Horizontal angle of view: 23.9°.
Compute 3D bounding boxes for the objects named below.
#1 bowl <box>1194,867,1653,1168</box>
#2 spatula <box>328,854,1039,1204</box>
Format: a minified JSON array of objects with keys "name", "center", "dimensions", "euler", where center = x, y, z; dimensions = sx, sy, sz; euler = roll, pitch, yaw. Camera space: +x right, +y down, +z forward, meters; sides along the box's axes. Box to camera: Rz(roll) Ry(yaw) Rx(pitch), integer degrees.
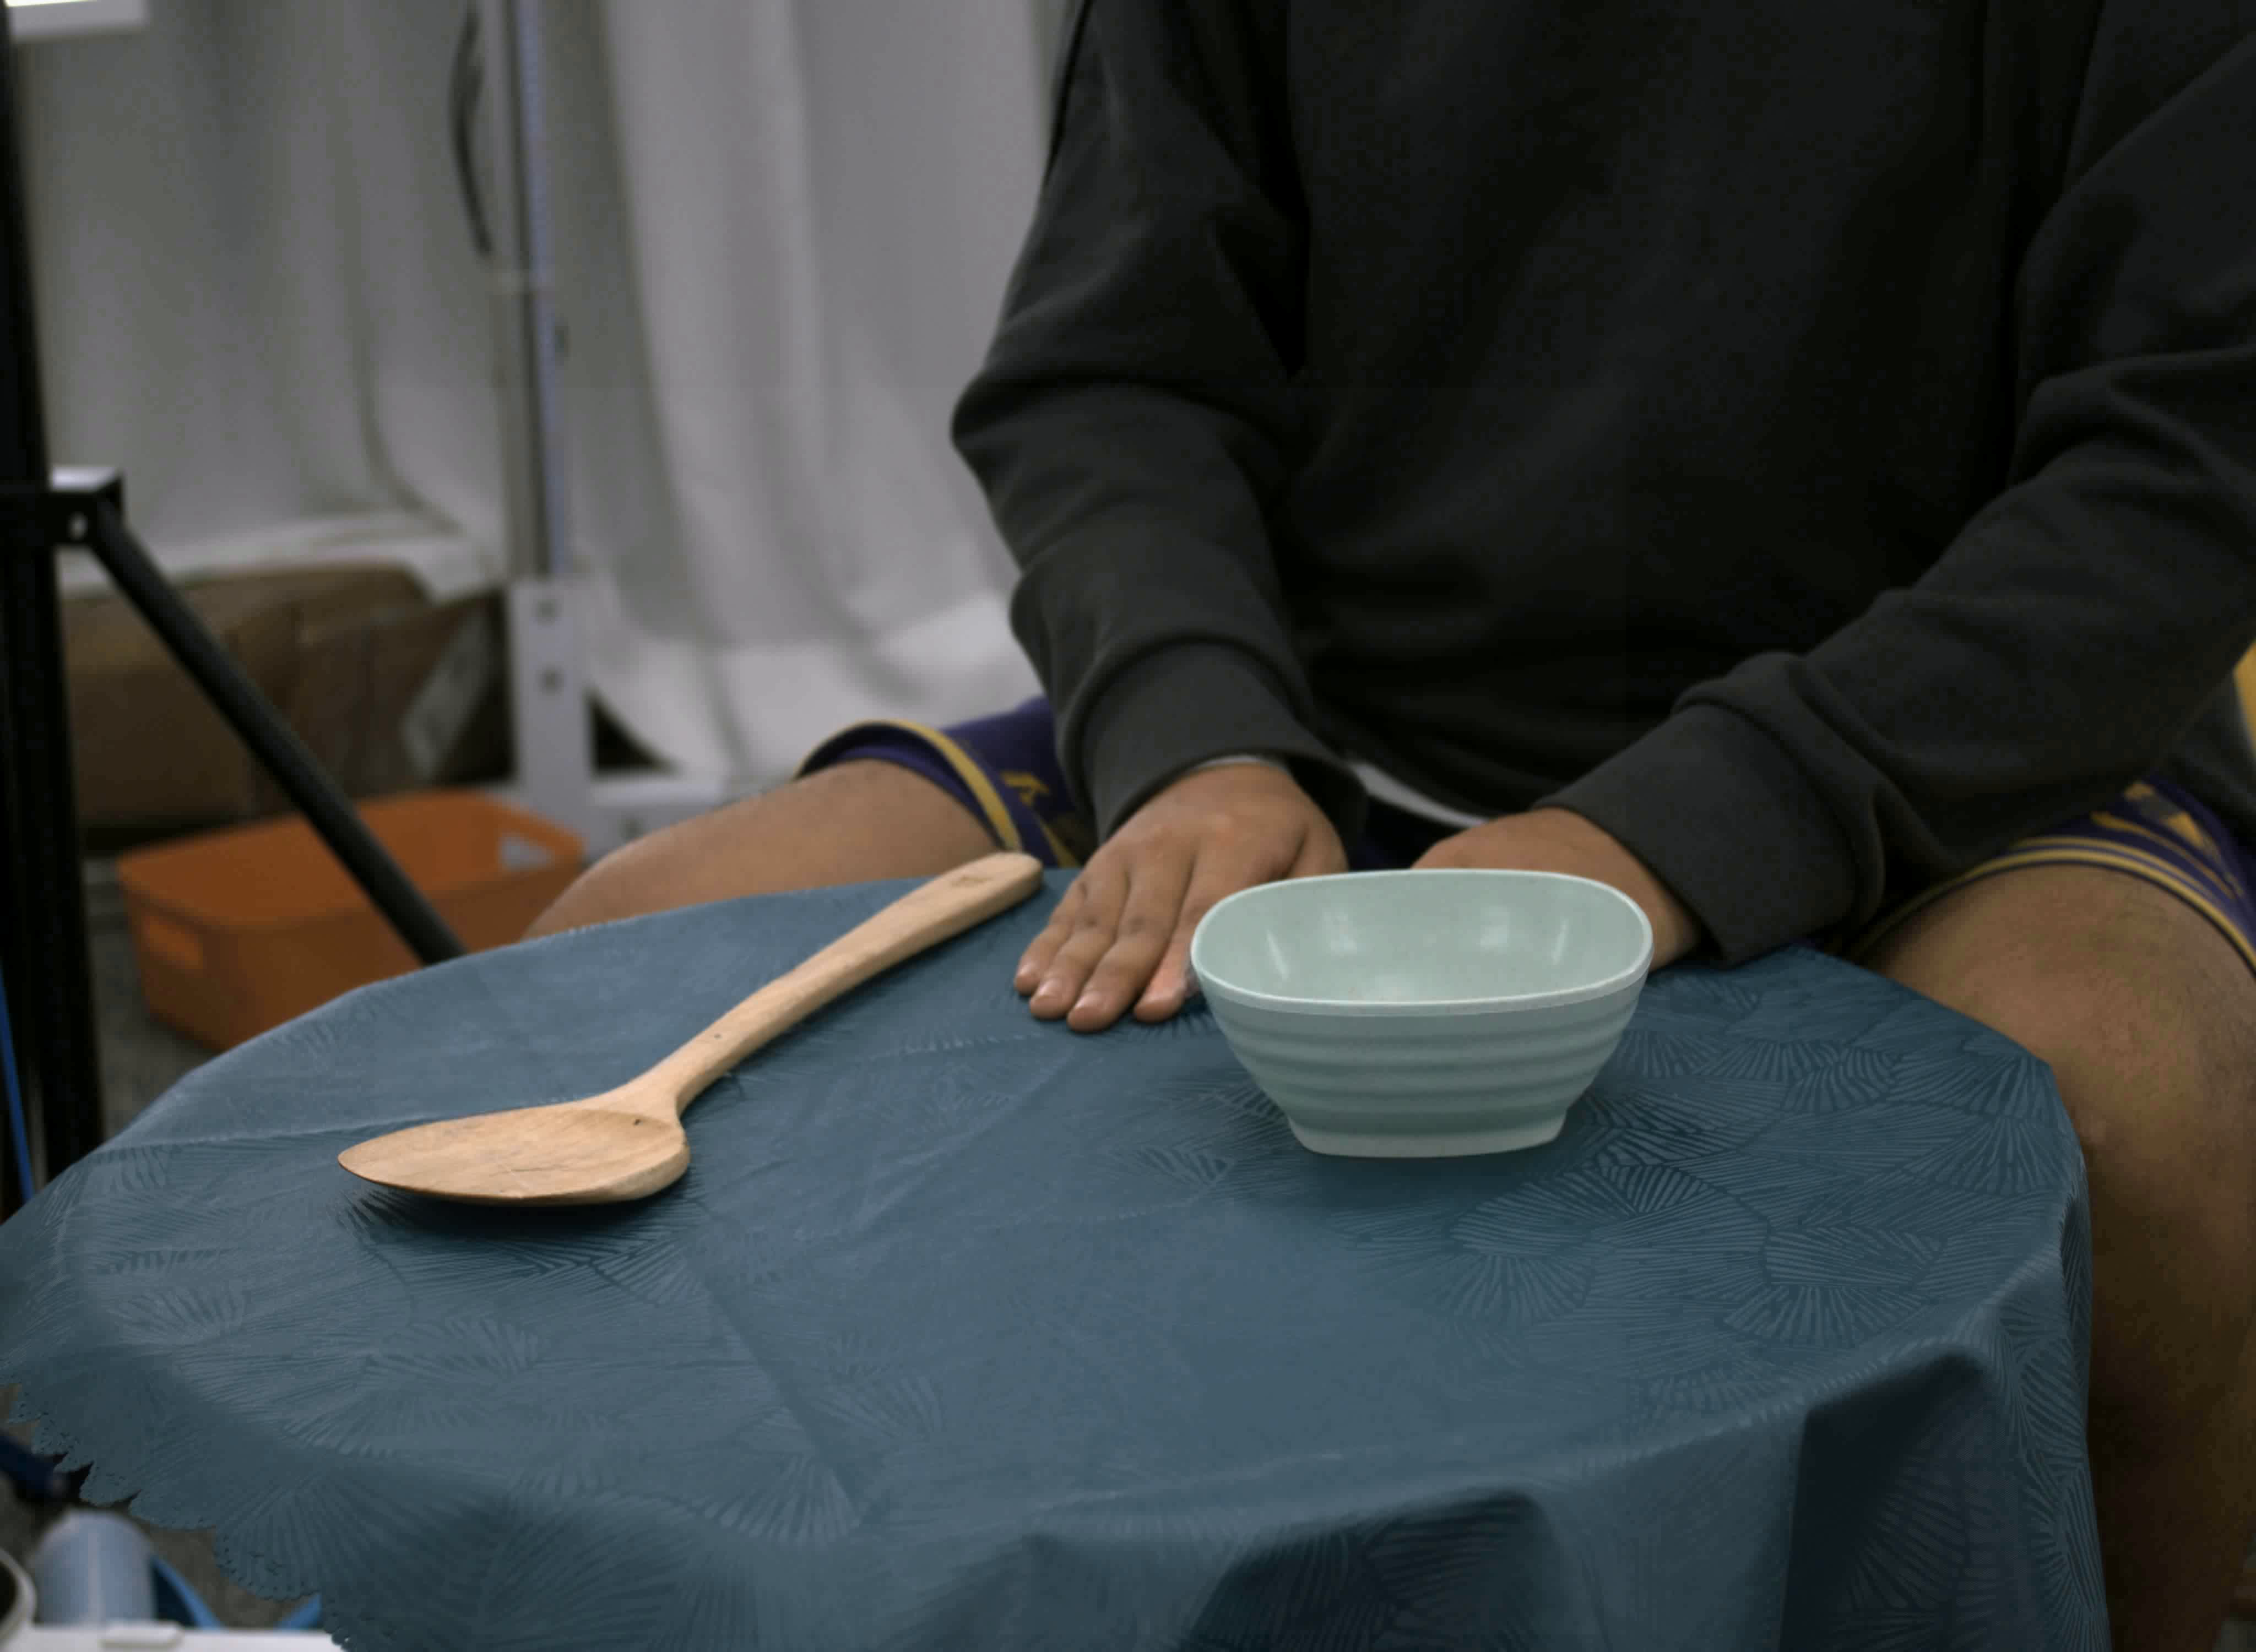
[{"name":"bowl","center":[0.090,0.062,1.610],"dimensions":[0.150,0.058,0.152],"euler":[-3,17,-1]},{"name":"spatula","center":[-0.122,0.060,1.717],"dimensions":[0.097,0.018,0.385],"euler":[6,18,24]}]
